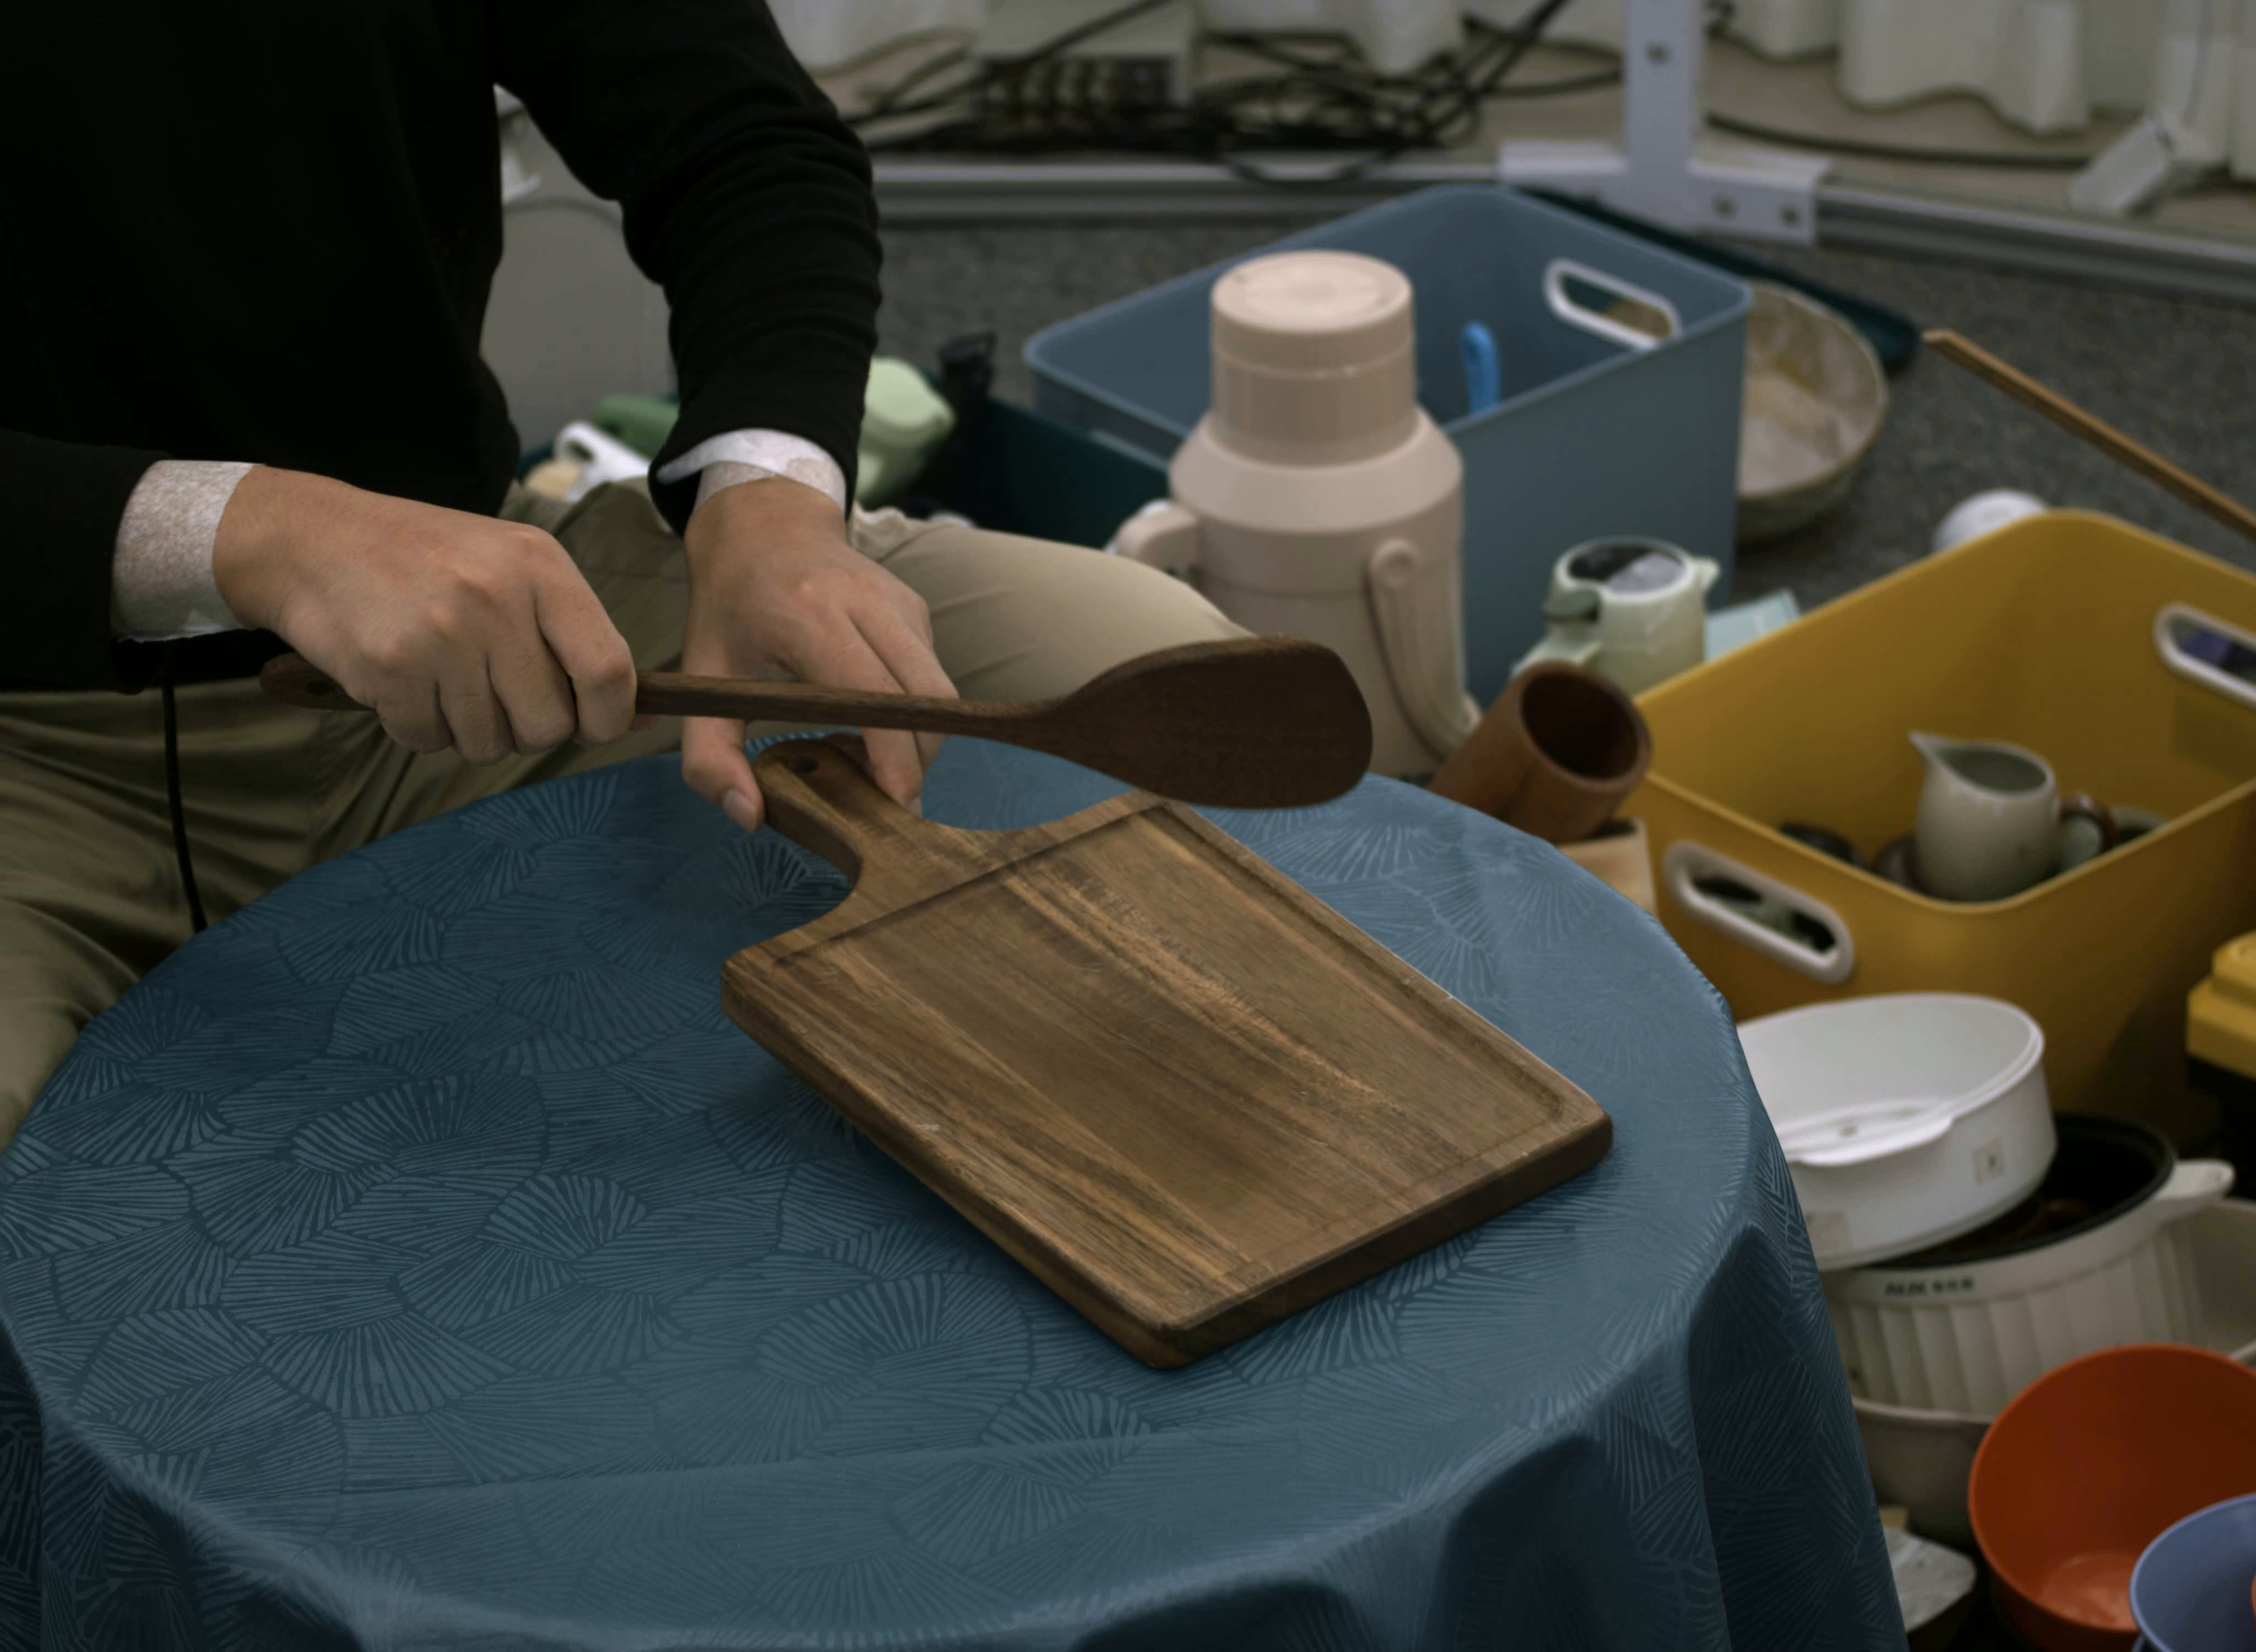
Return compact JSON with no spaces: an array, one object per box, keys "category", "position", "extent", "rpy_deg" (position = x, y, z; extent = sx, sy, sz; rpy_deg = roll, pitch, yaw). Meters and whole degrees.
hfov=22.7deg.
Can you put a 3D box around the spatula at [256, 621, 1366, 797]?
[{"category":"spatula","position":[-0.110,-0.045,1.896],"extent":[0.383,0.095,0.016],"rpy_deg":[3,56,11]}]

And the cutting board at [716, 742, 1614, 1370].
[{"category":"cutting board","position":[-0.020,0.056,1.922],"extent":[0.203,0.023,0.353],"rpy_deg":[-22,40,-32]}]
